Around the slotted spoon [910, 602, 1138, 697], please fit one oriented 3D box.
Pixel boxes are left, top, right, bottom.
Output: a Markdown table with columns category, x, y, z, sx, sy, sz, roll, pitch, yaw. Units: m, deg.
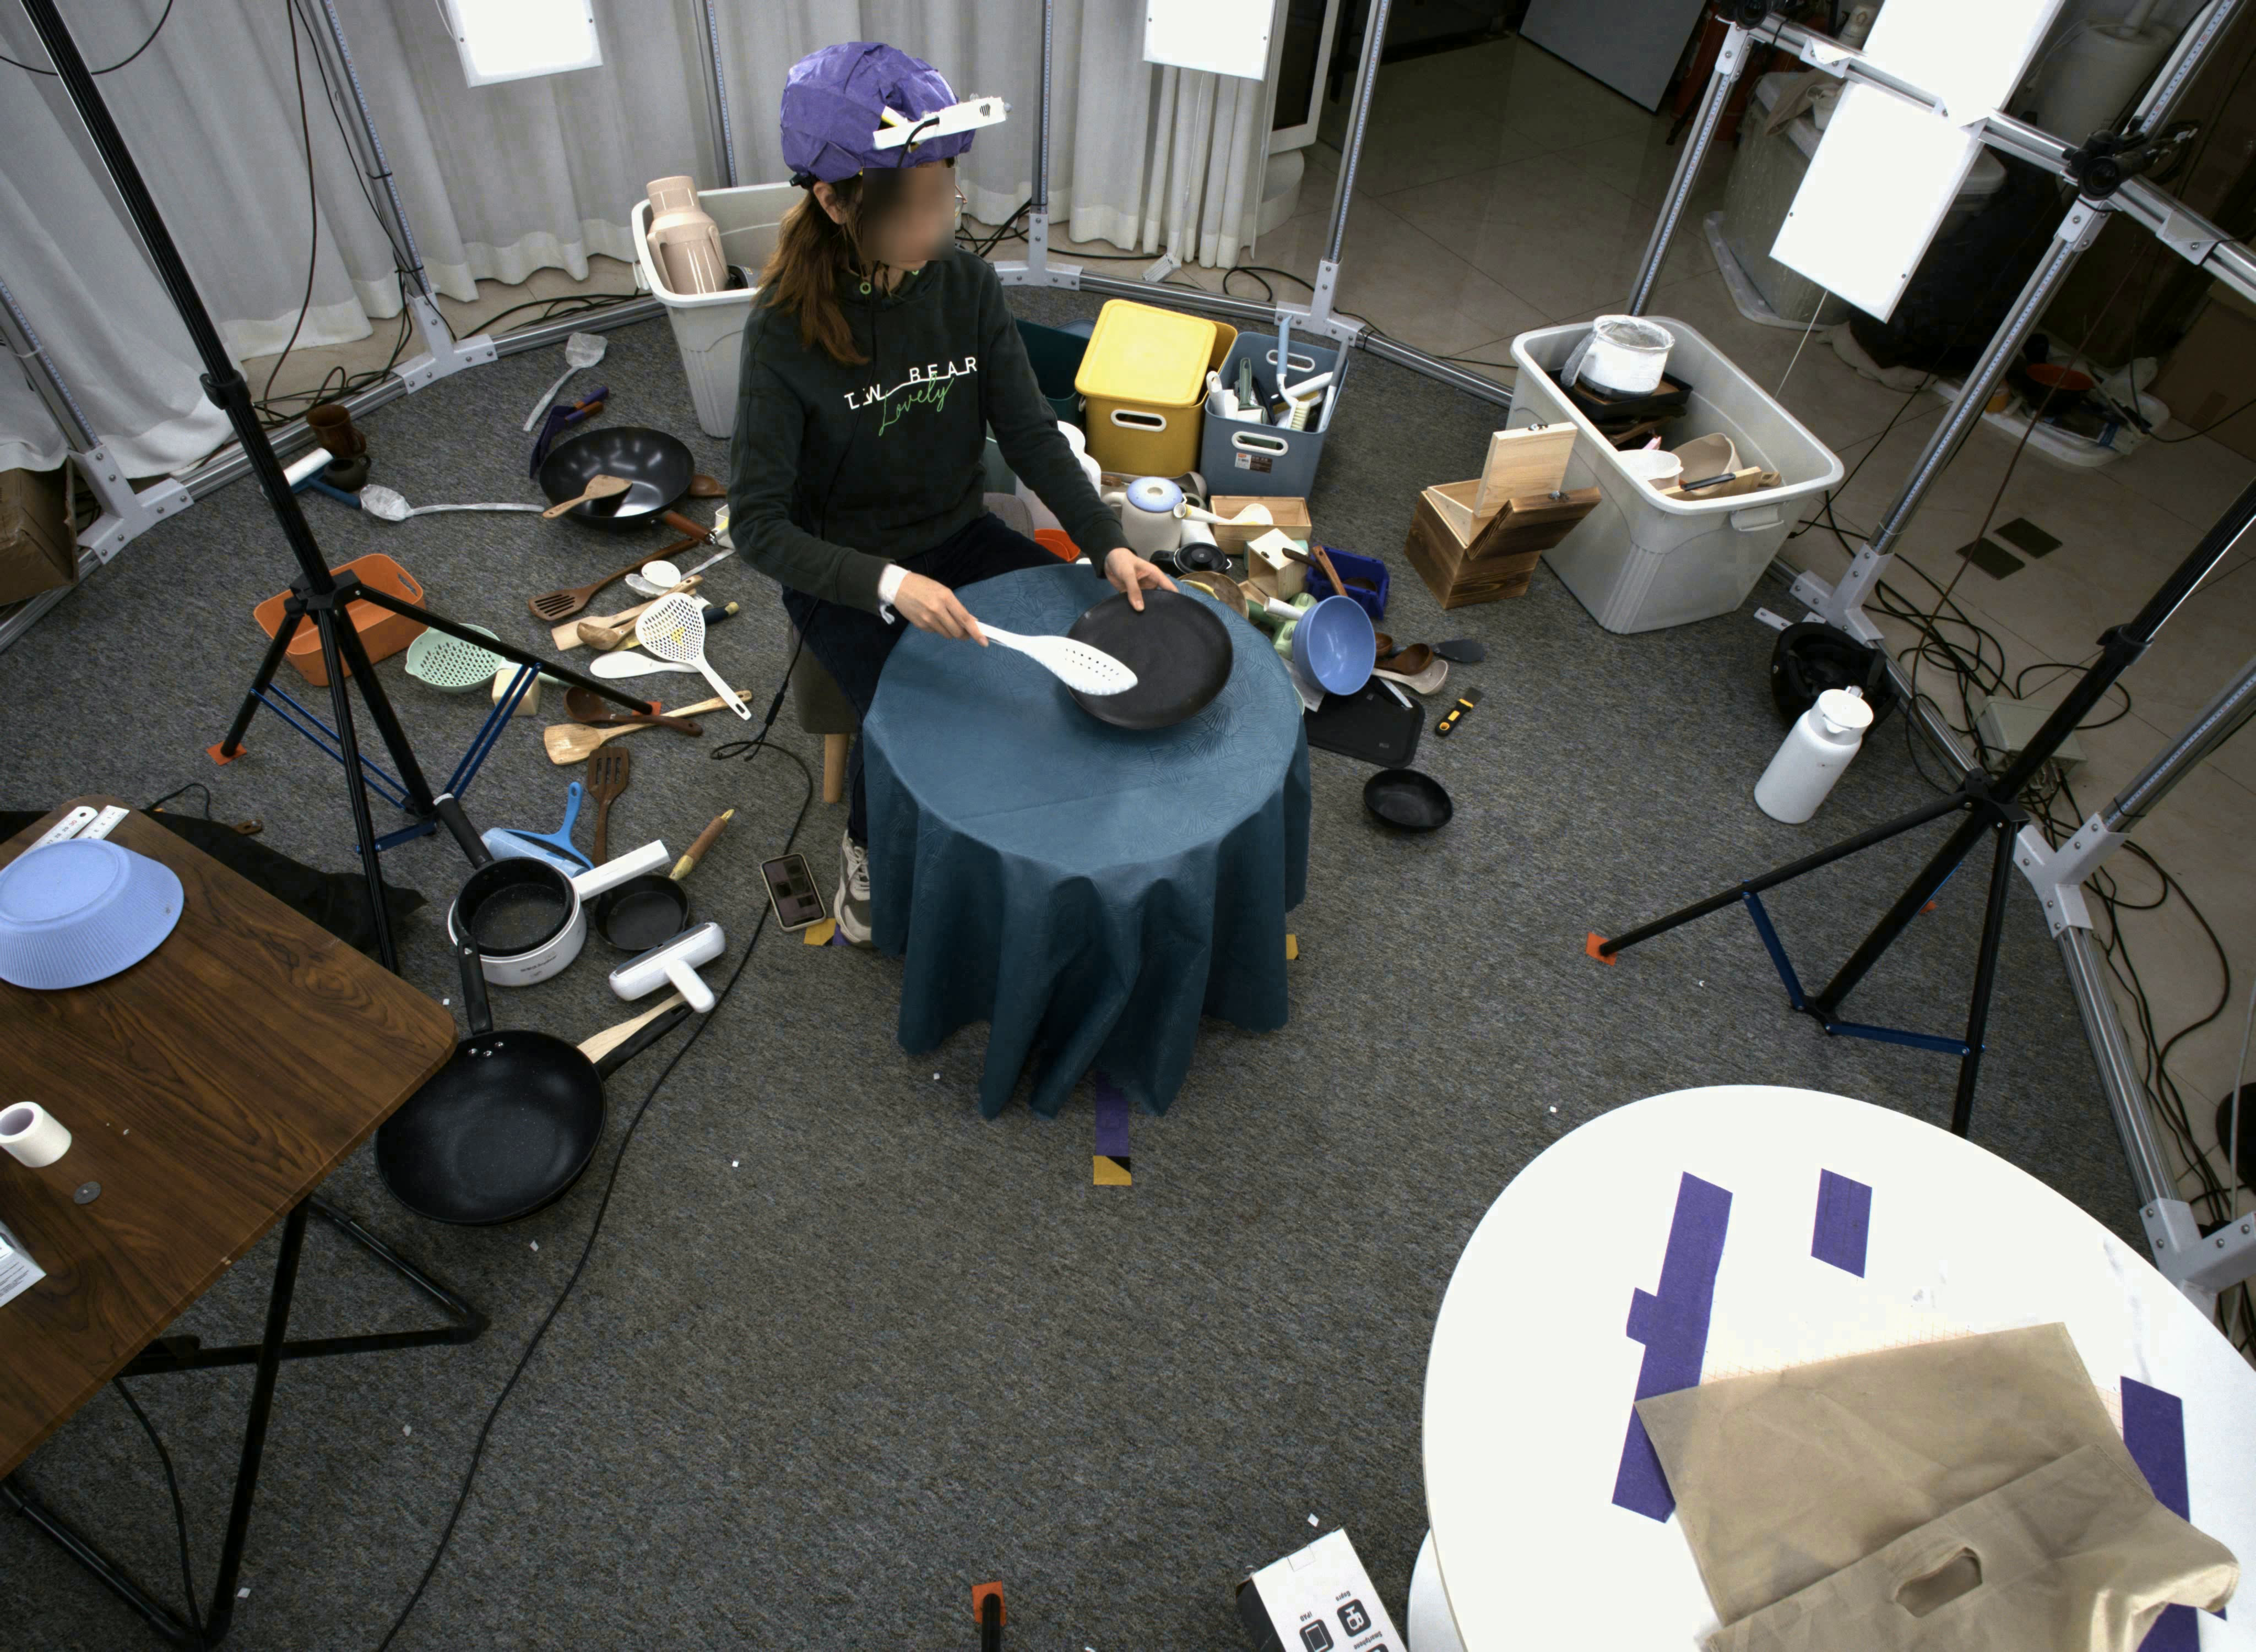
| category | x | y | z | sx | sy | sz | roll | pitch | yaw |
| --- | --- | --- | --- | --- | --- | --- | --- | --- | --- |
| slotted spoon | -0.146 | -0.245 | 1.736 | 0.353 | 0.134 | 0.046 | 26 | 81 | 22 |

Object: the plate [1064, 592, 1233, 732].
| category | x | y | z | sx | sy | sz | roll | pitch | yaw |
| --- | --- | --- | --- | --- | --- | --- | --- | --- | --- |
| plate | 0.029 | -0.232 | 1.827 | 0.244 | 0.023 | 0.250 | -3 | 59 | 4 |
